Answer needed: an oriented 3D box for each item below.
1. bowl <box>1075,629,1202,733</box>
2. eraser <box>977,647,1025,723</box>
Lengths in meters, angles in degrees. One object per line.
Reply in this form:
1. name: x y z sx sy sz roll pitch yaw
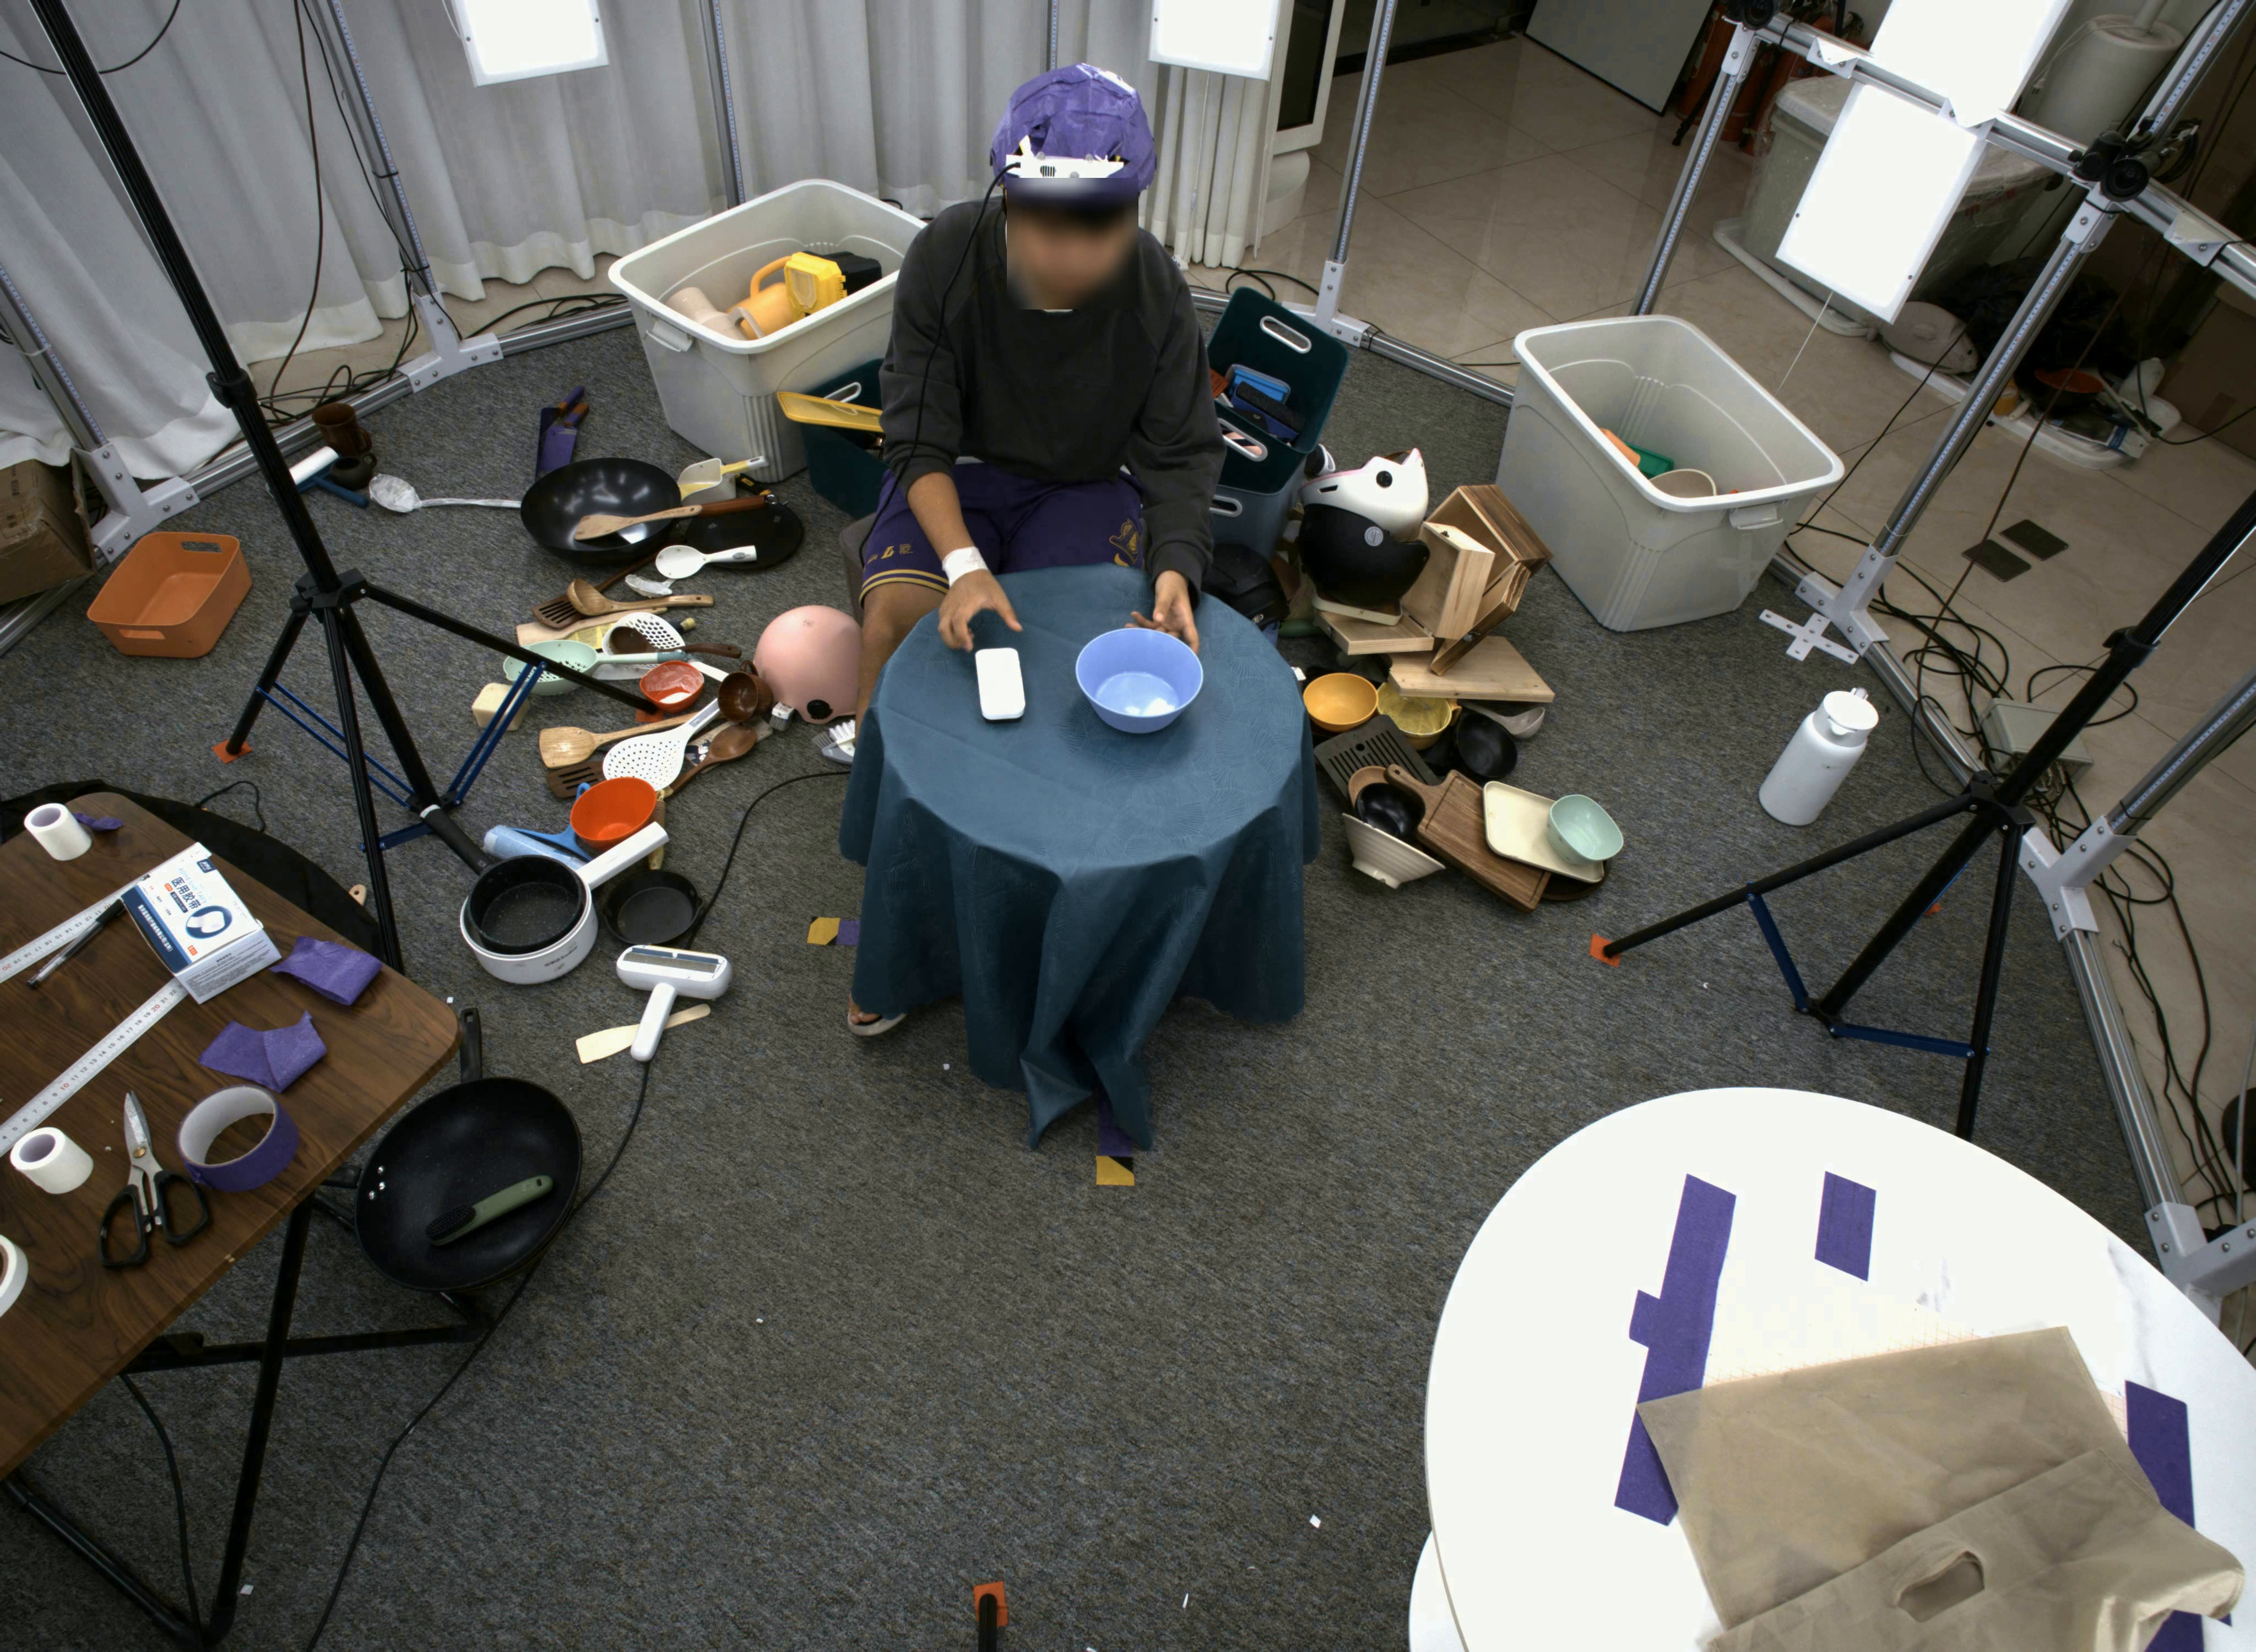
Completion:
1. bowl: 0.013 -0.194 1.789 0.176 0.068 0.180 2 49 -3
2. eraser: -0.178 -0.202 1.809 0.063 0.034 0.134 -2 51 -8
